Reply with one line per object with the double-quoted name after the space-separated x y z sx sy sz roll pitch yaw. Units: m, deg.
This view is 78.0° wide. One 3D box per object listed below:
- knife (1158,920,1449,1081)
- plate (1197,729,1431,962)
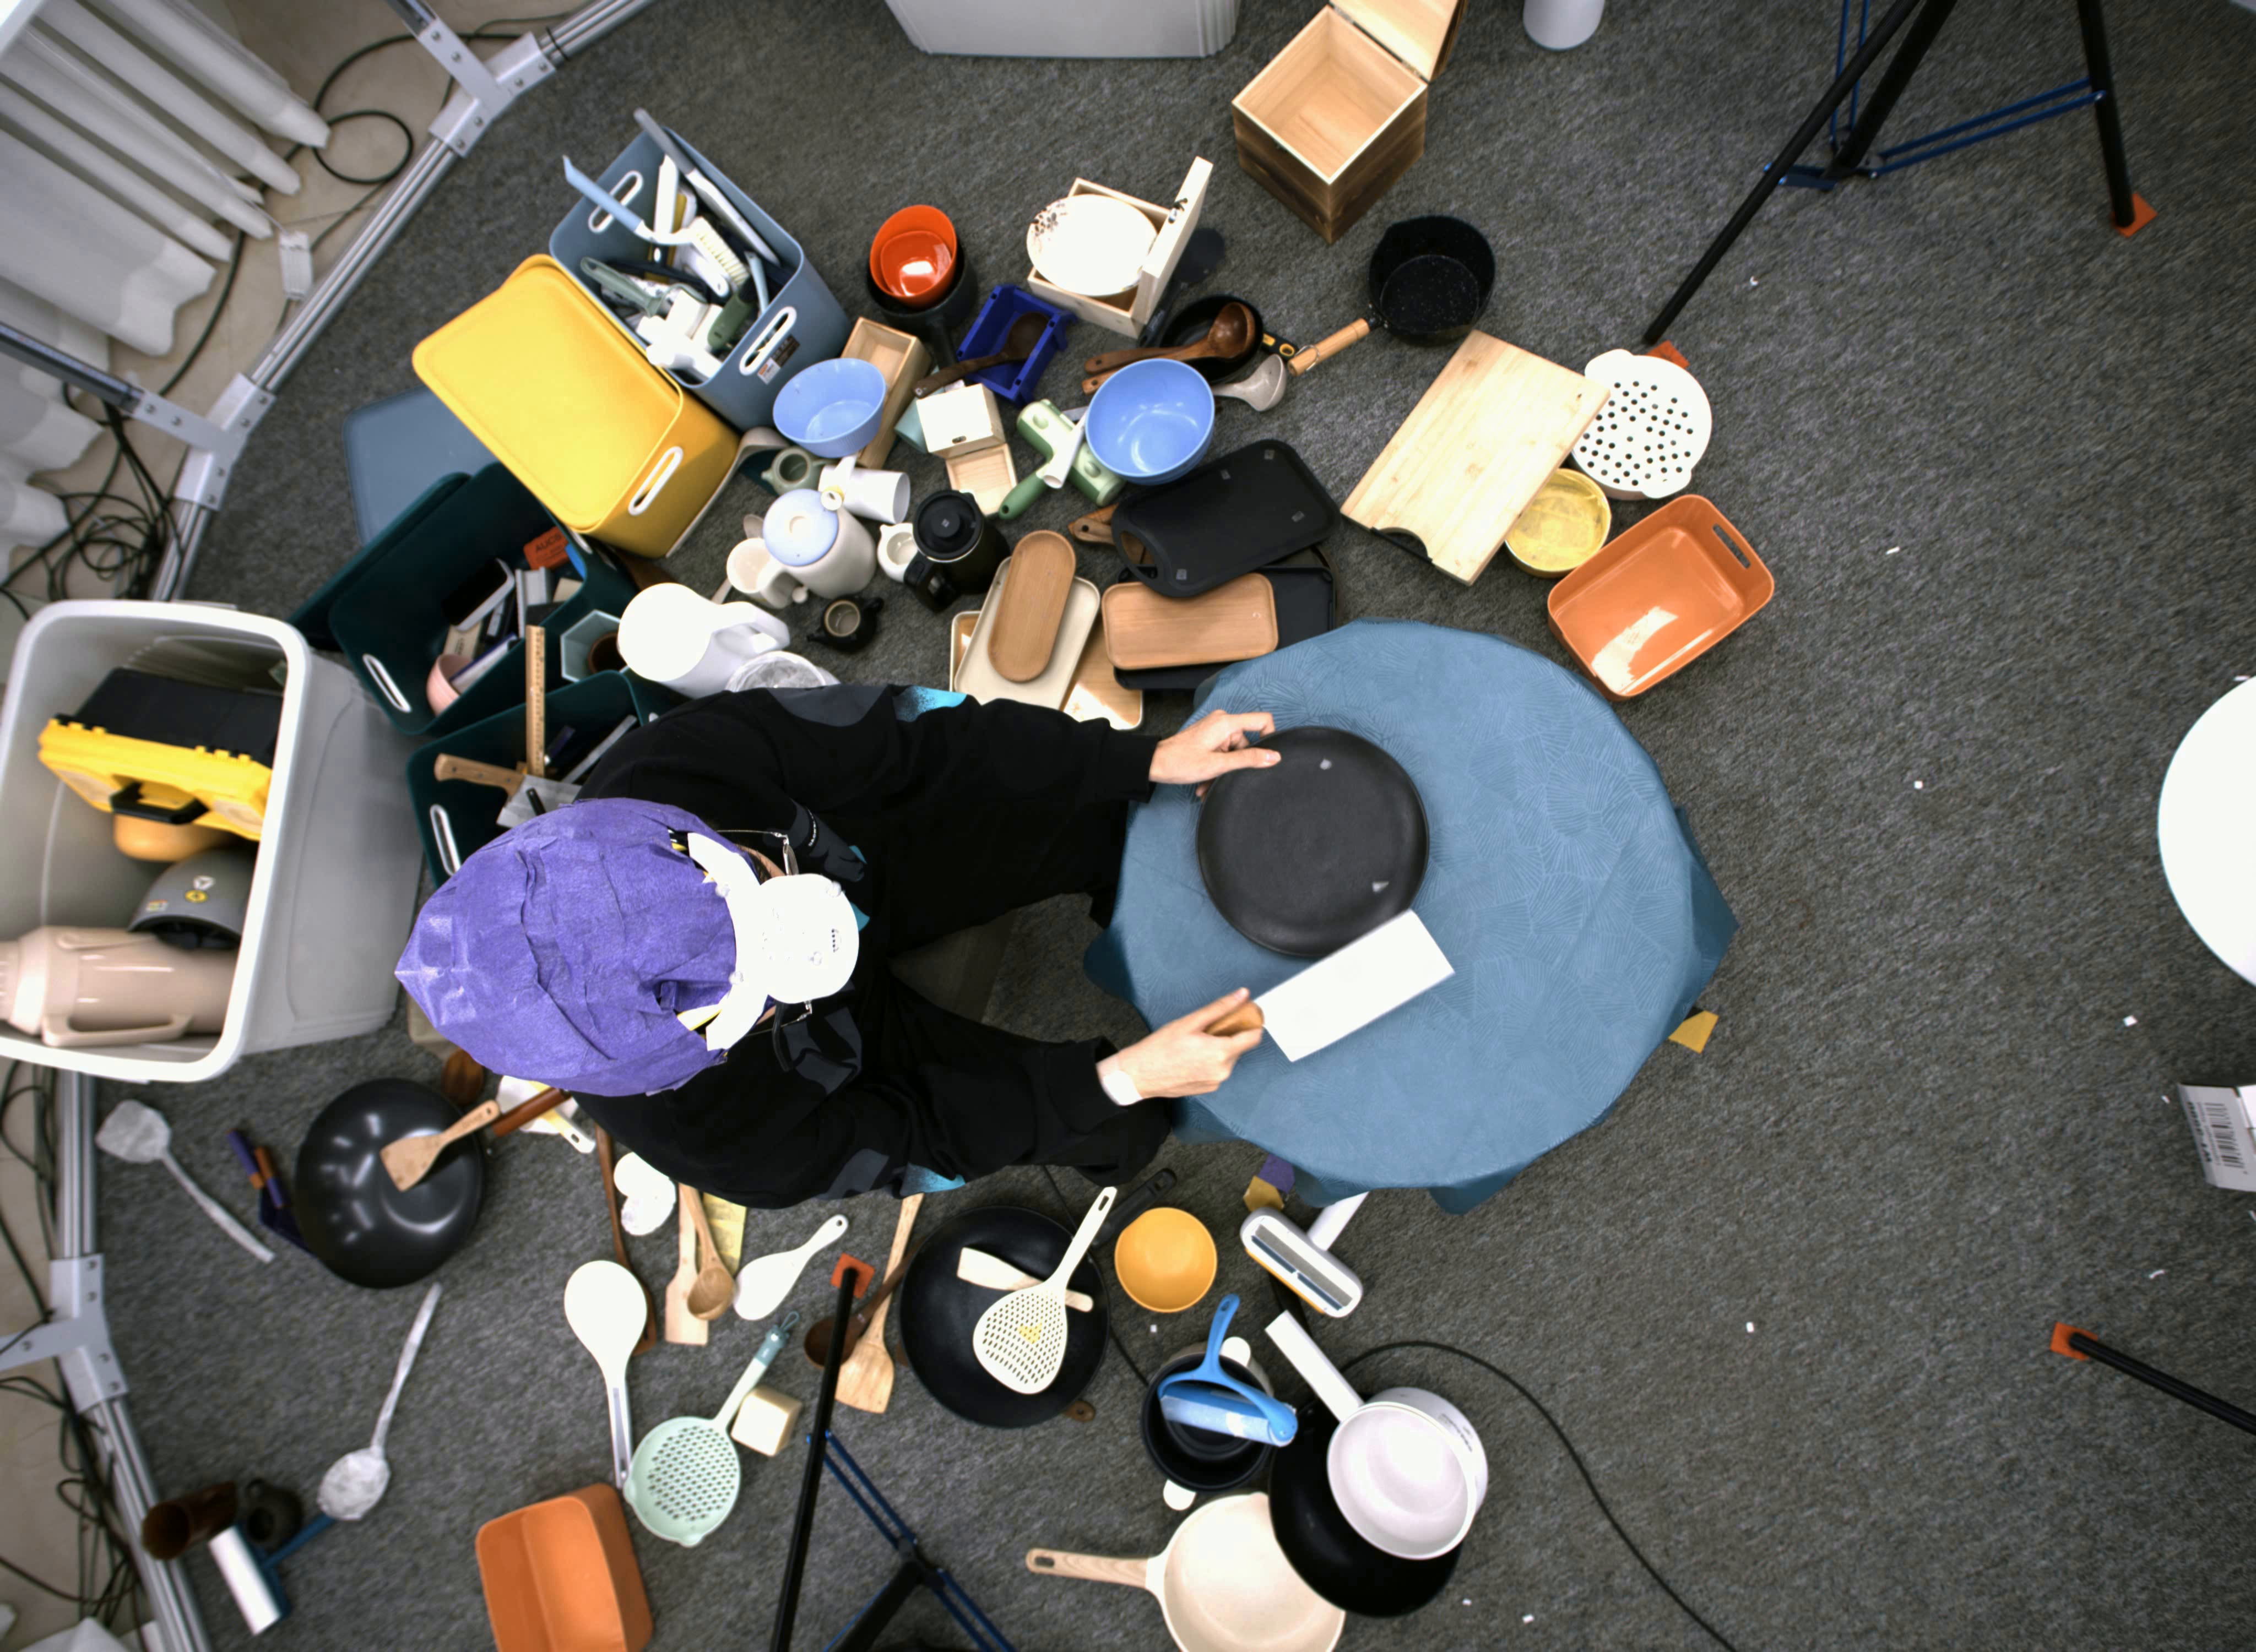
0.178 0.192 1.394 0.309 0.020 0.094 -30 119 16 "knife"
0.194 0.019 1.449 0.245 0.023 0.245 1 96 7 "plate"
